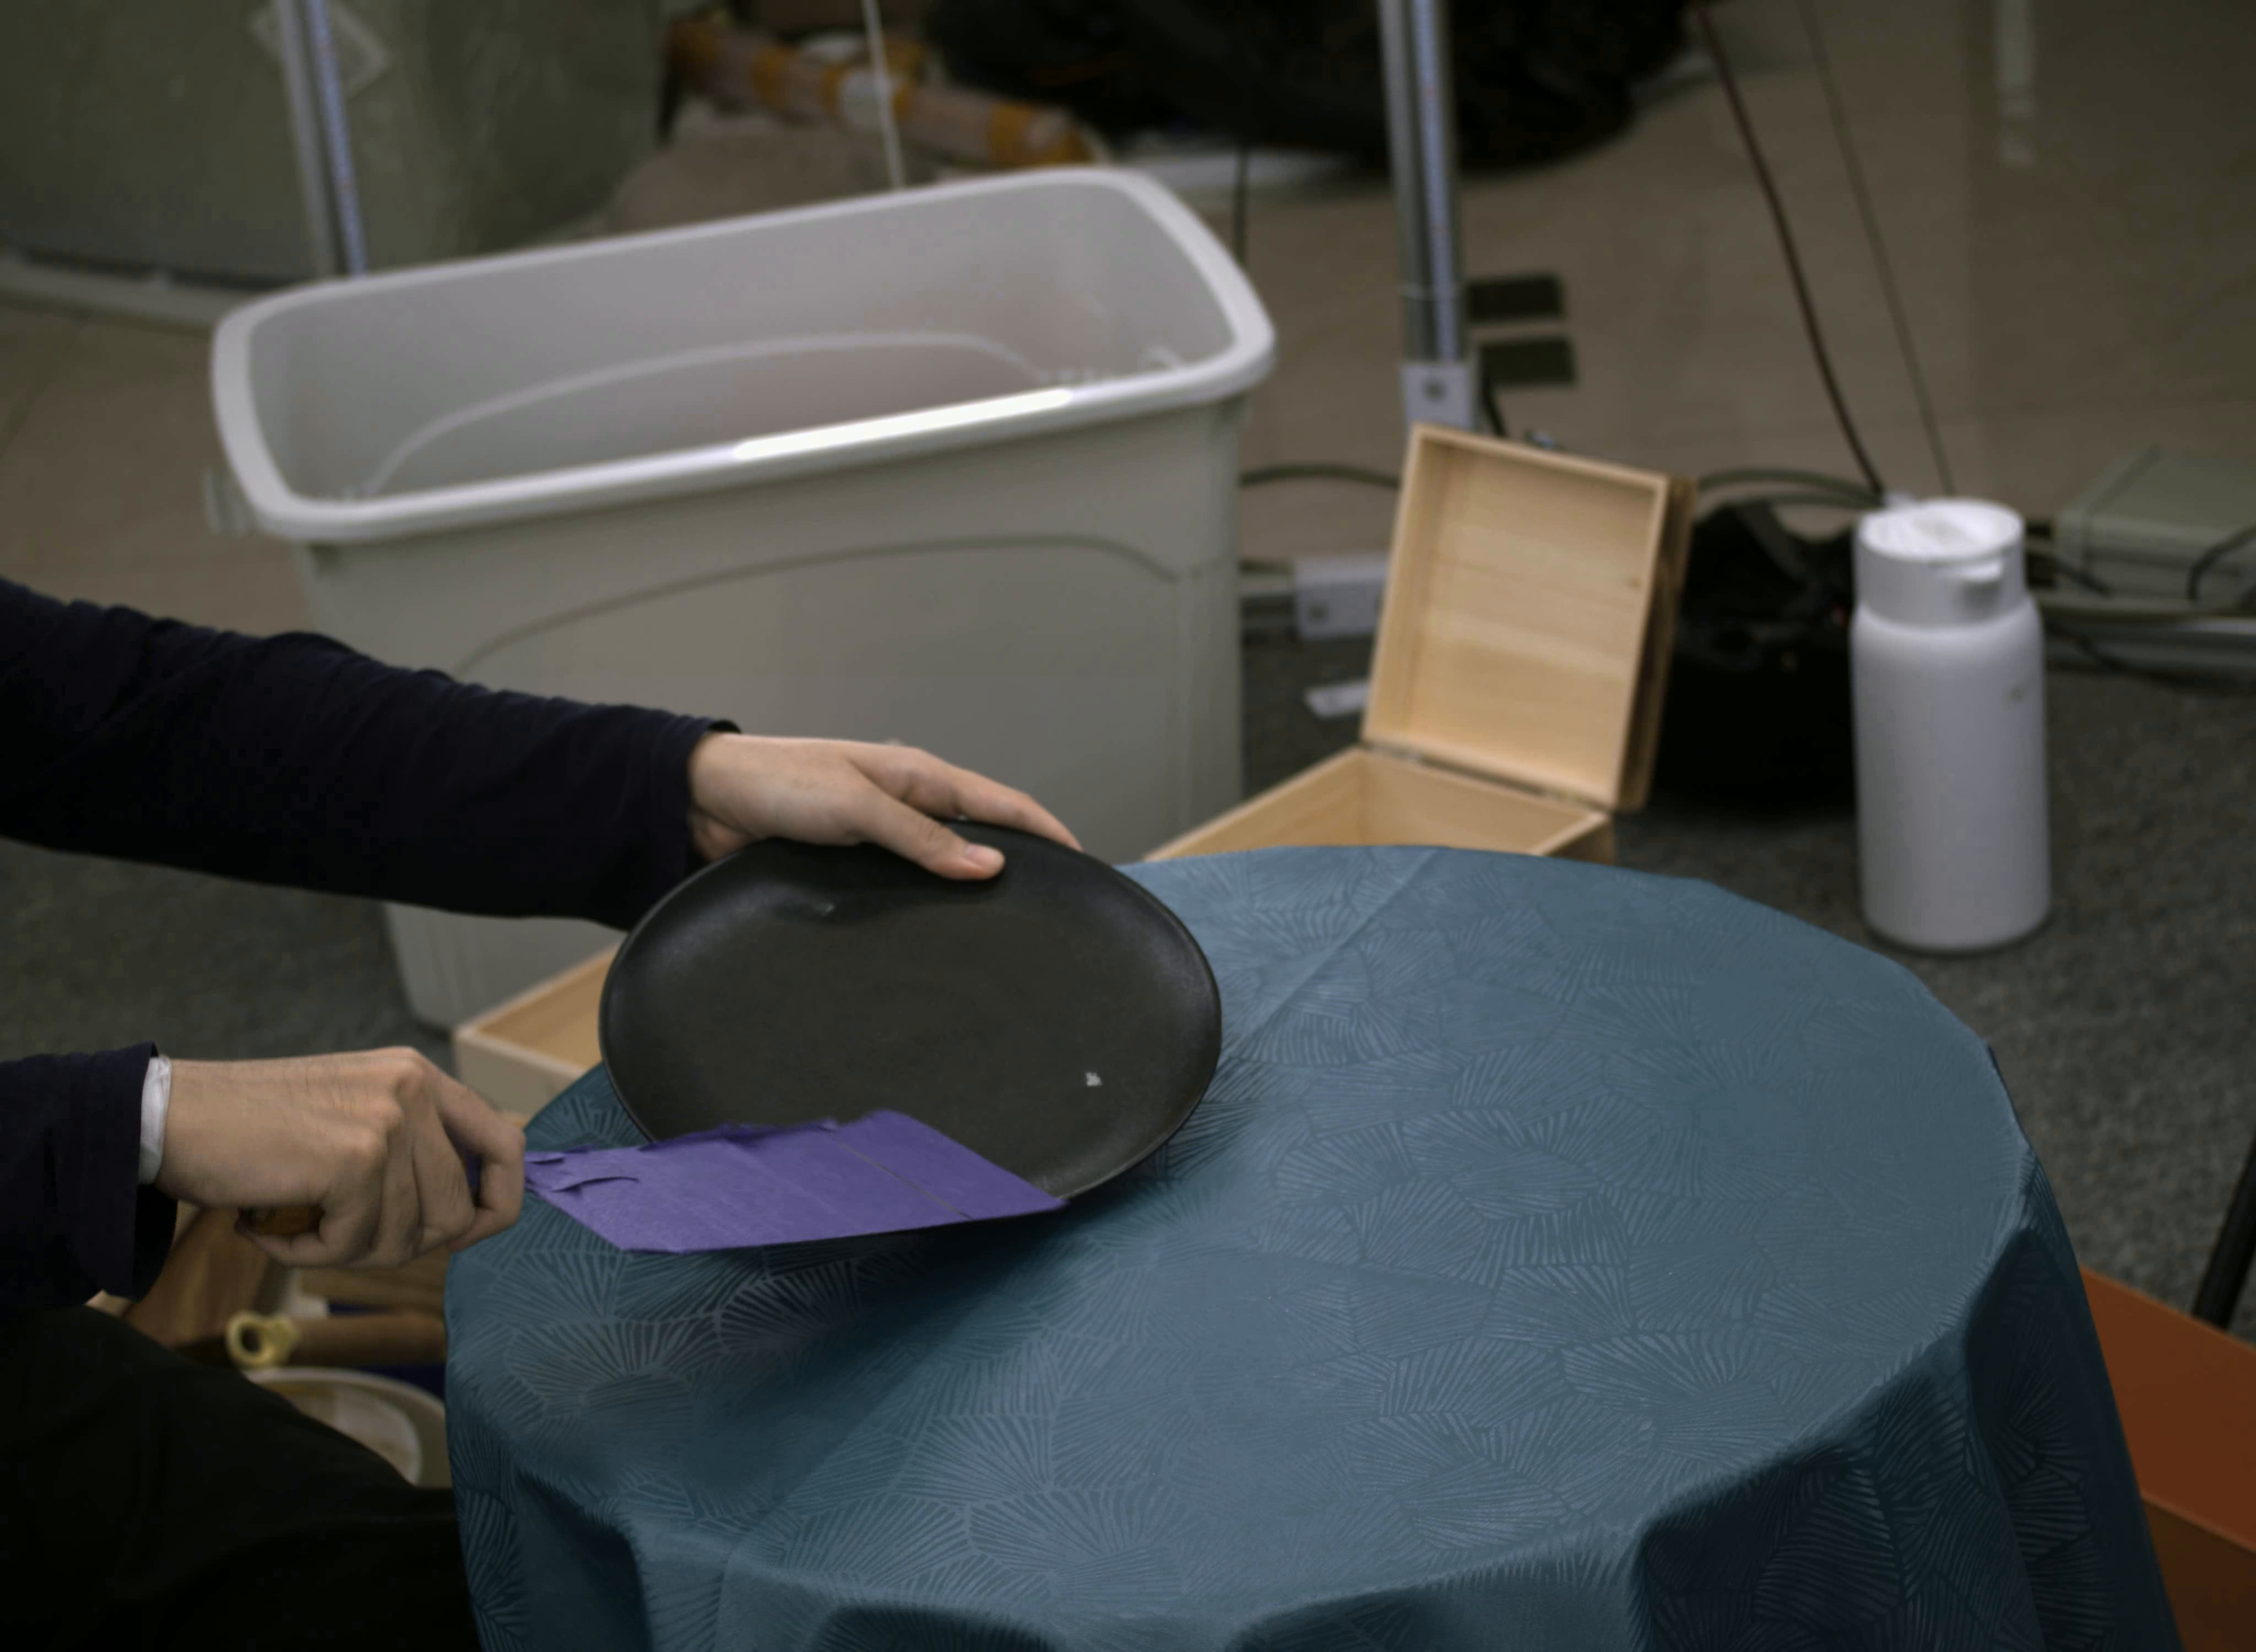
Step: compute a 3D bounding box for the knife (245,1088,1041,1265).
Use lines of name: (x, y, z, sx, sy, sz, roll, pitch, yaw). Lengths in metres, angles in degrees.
knife: (-0.165, 0.129, 2.041, 0.314, 0.032, 0.103, -7, 24, -44)

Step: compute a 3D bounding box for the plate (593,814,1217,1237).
plate: (-0.087, 0.080, 2.210, 0.244, 0.024, 0.240, 1, 41, -1)
